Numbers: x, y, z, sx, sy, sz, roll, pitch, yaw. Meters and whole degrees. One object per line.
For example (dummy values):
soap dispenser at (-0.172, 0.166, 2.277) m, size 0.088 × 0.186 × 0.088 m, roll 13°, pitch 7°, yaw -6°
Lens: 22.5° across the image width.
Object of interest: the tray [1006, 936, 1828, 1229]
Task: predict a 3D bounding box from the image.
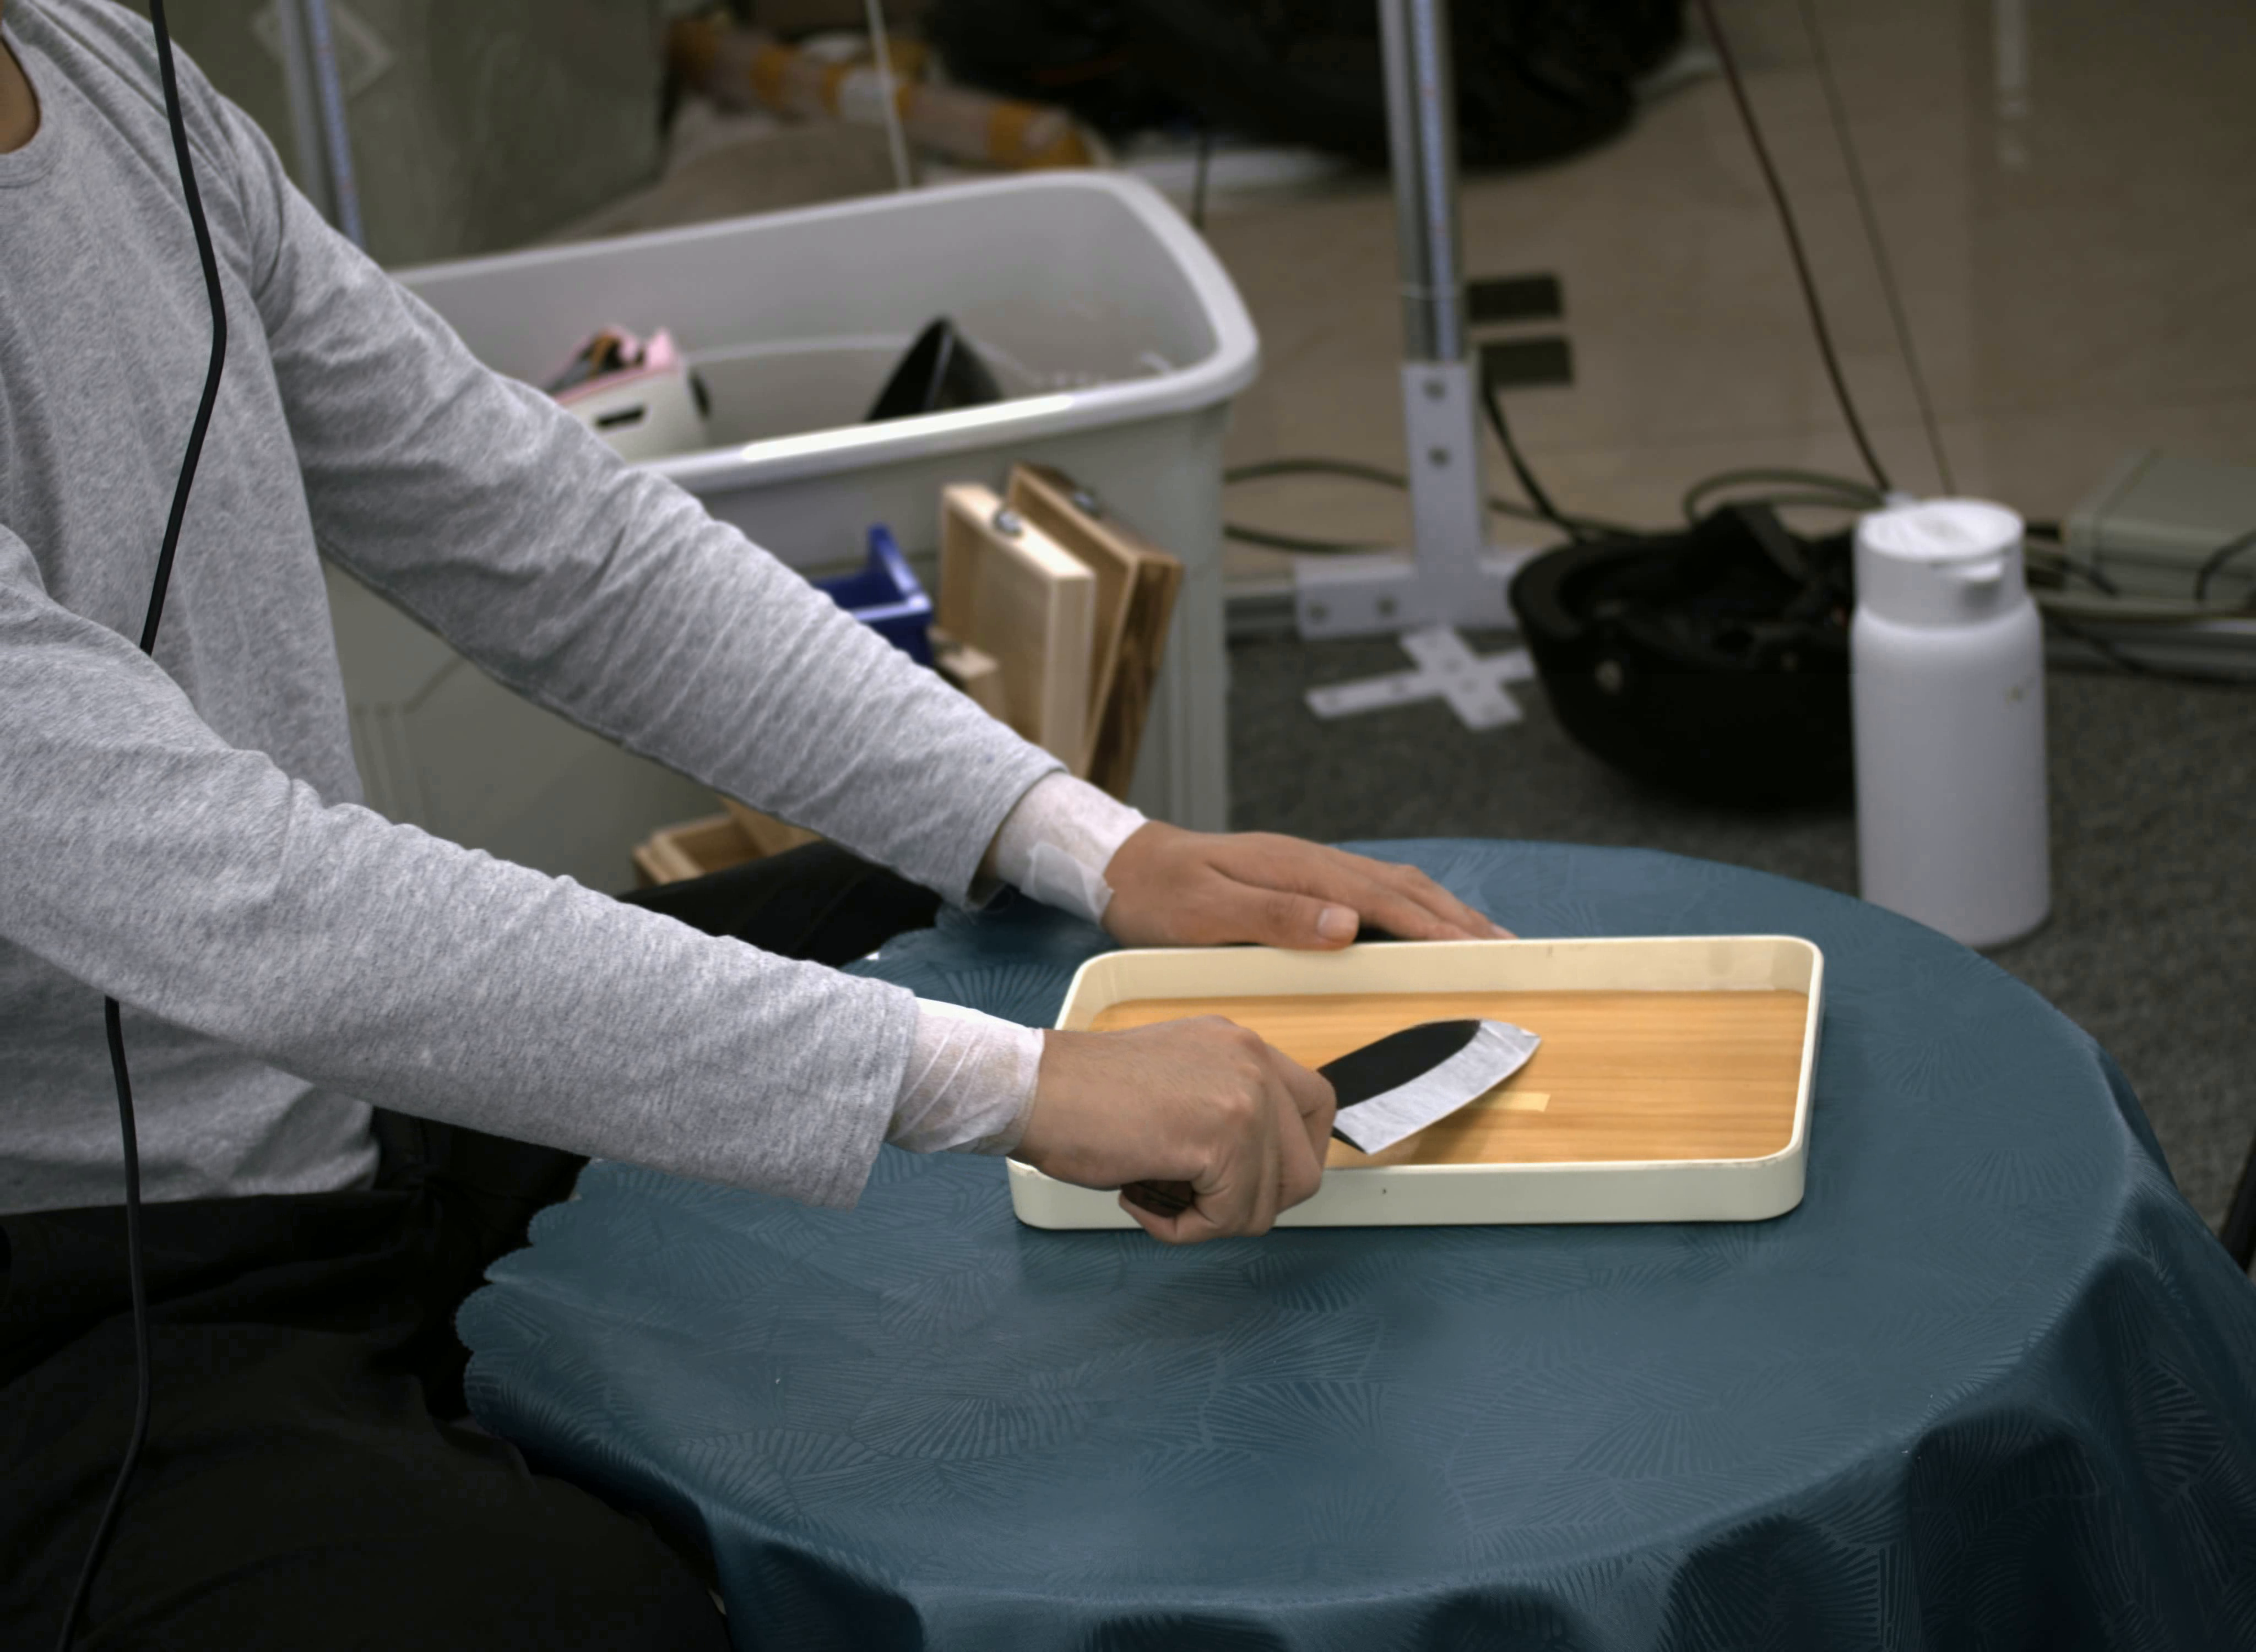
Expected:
tray at (0.114, 0.098, 2.181) m, size 0.300 × 0.028 × 0.189 m, roll -2°, pitch 25°, yaw 11°

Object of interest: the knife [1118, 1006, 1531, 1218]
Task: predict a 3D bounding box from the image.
knife at (0.078, 0.103, 2.101) m, size 0.050 × 0.020 × 0.287 m, roll 39°, pitch 27°, yaw 20°
